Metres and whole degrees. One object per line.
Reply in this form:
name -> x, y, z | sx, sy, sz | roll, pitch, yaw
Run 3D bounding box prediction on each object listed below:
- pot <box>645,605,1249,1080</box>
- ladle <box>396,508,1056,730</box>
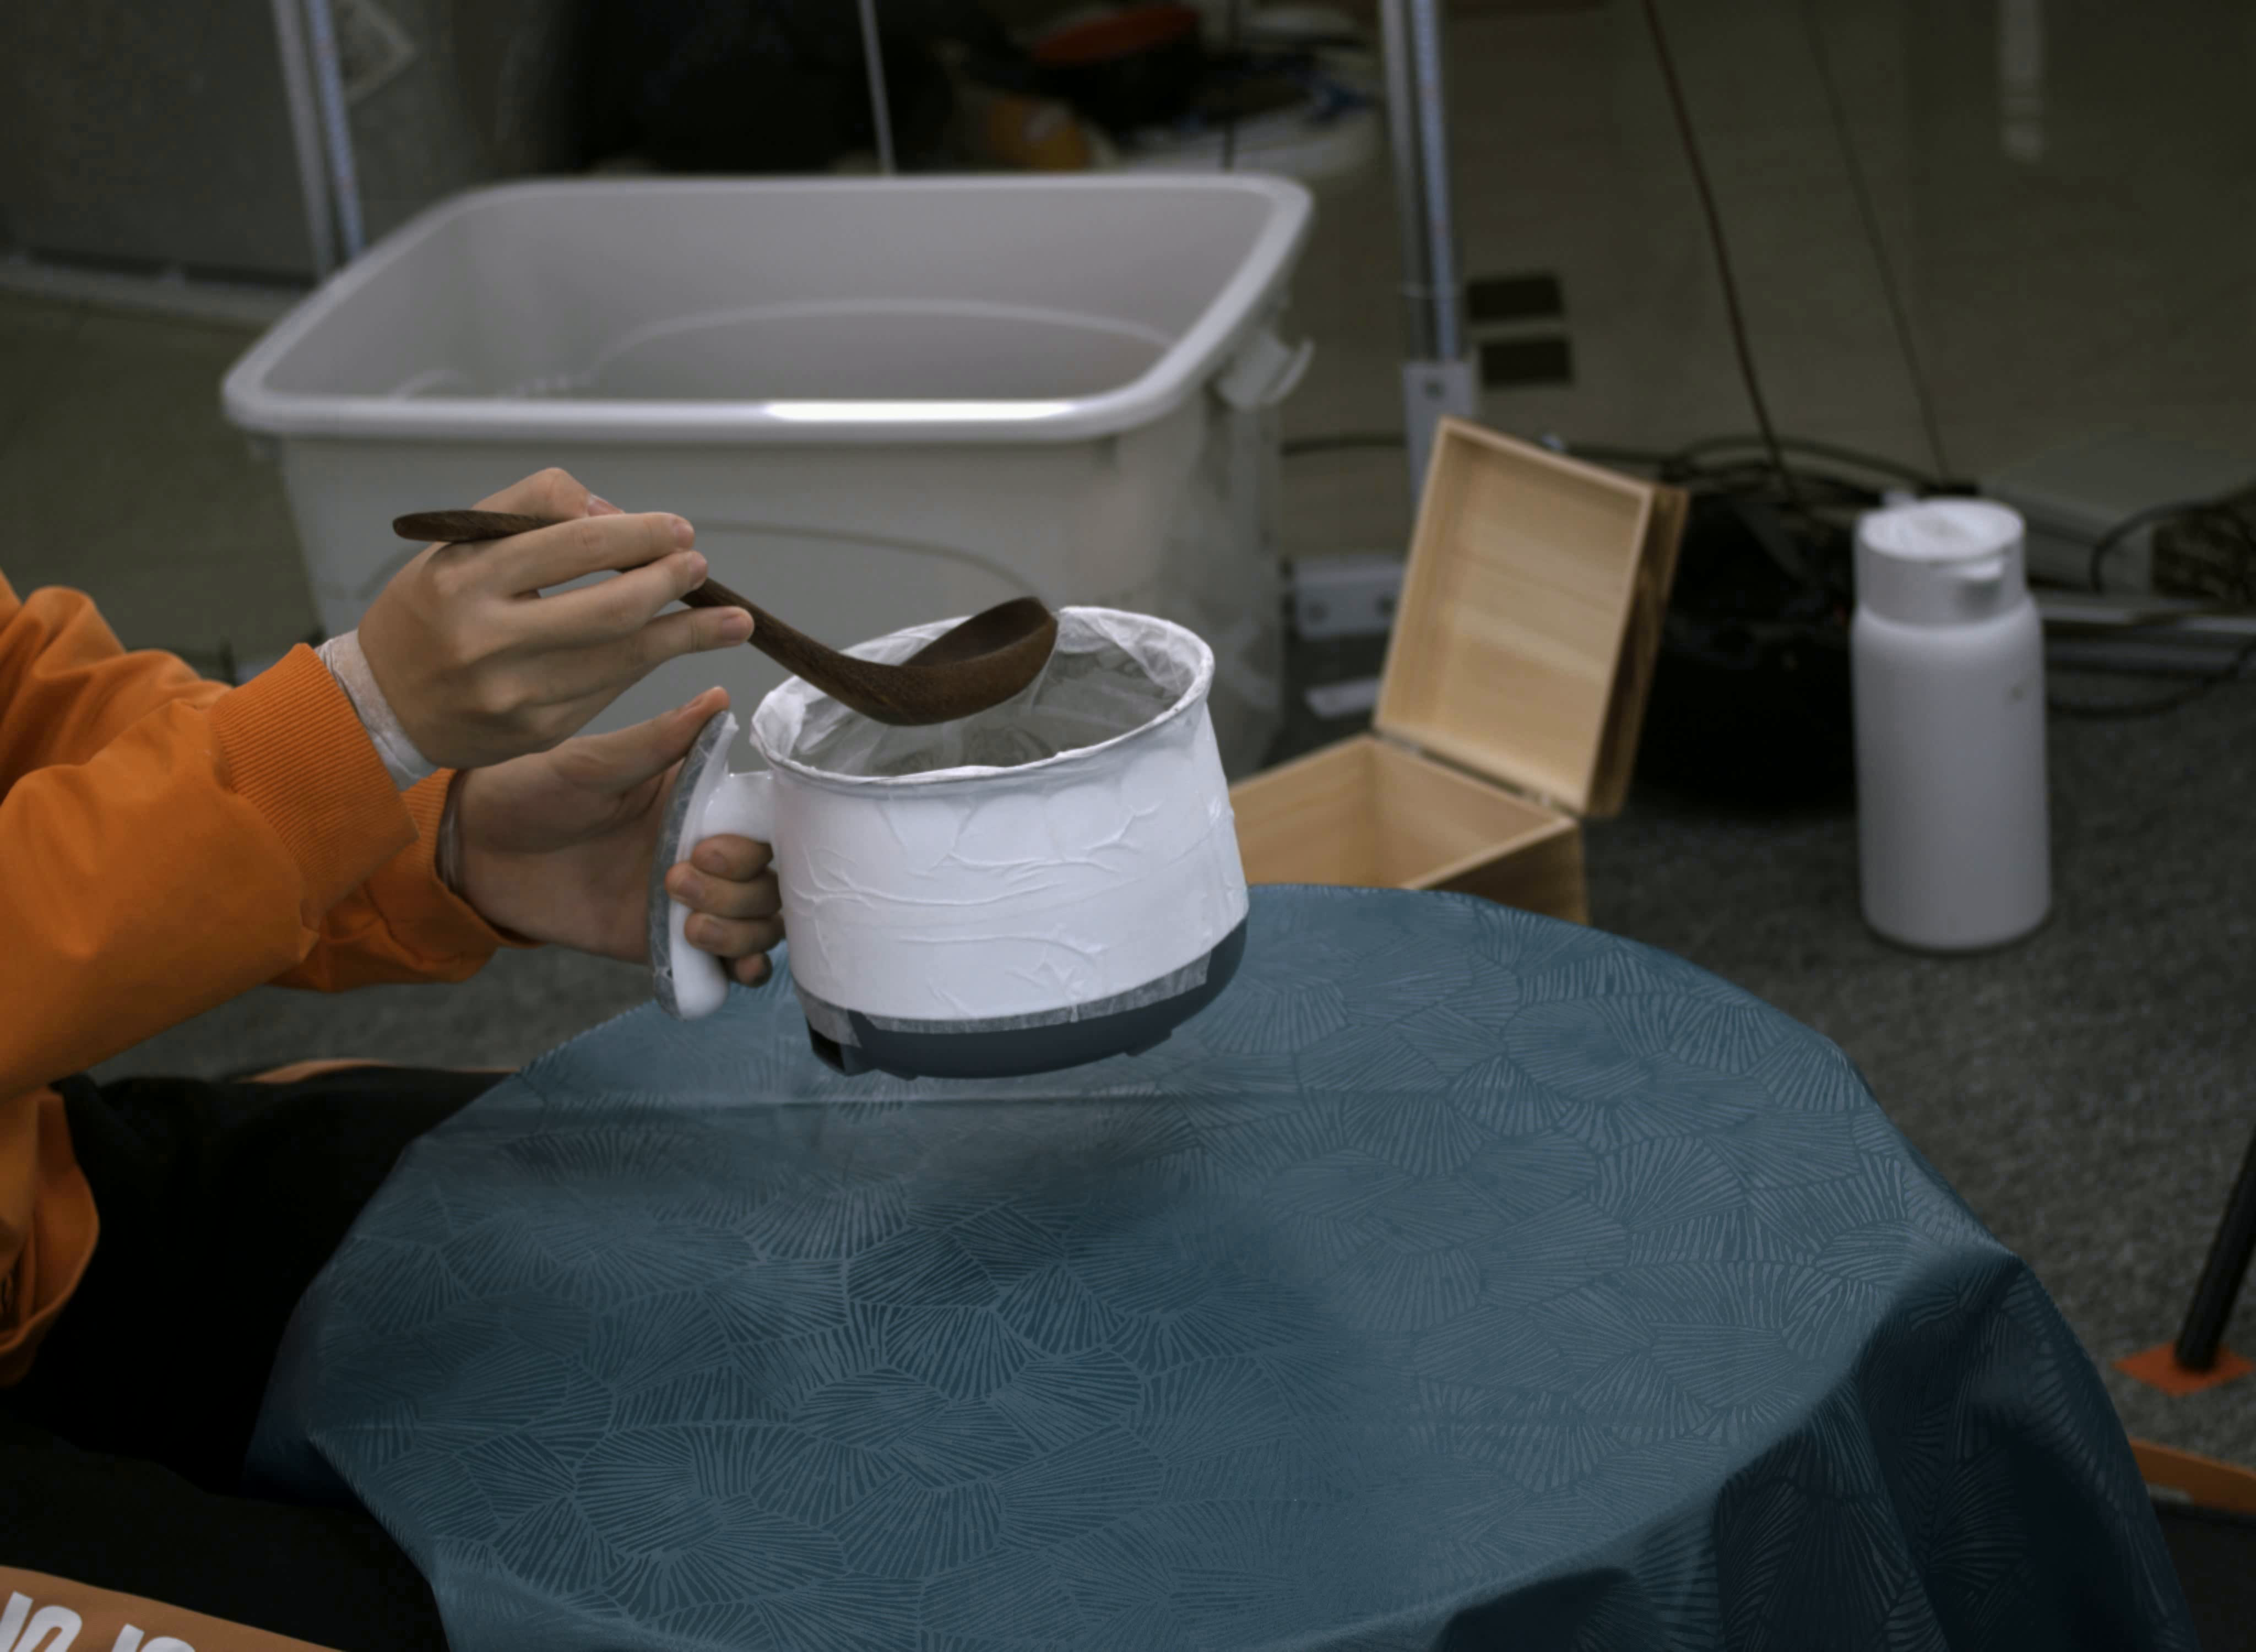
pot -> -0.073, 0.011, 2.151 | 0.233, 0.138, 0.176 | -8, 22, 4
ladle -> -0.145, -0.097, 2.083 | 0.276, 0.070, 0.076 | 22, -23, -34
